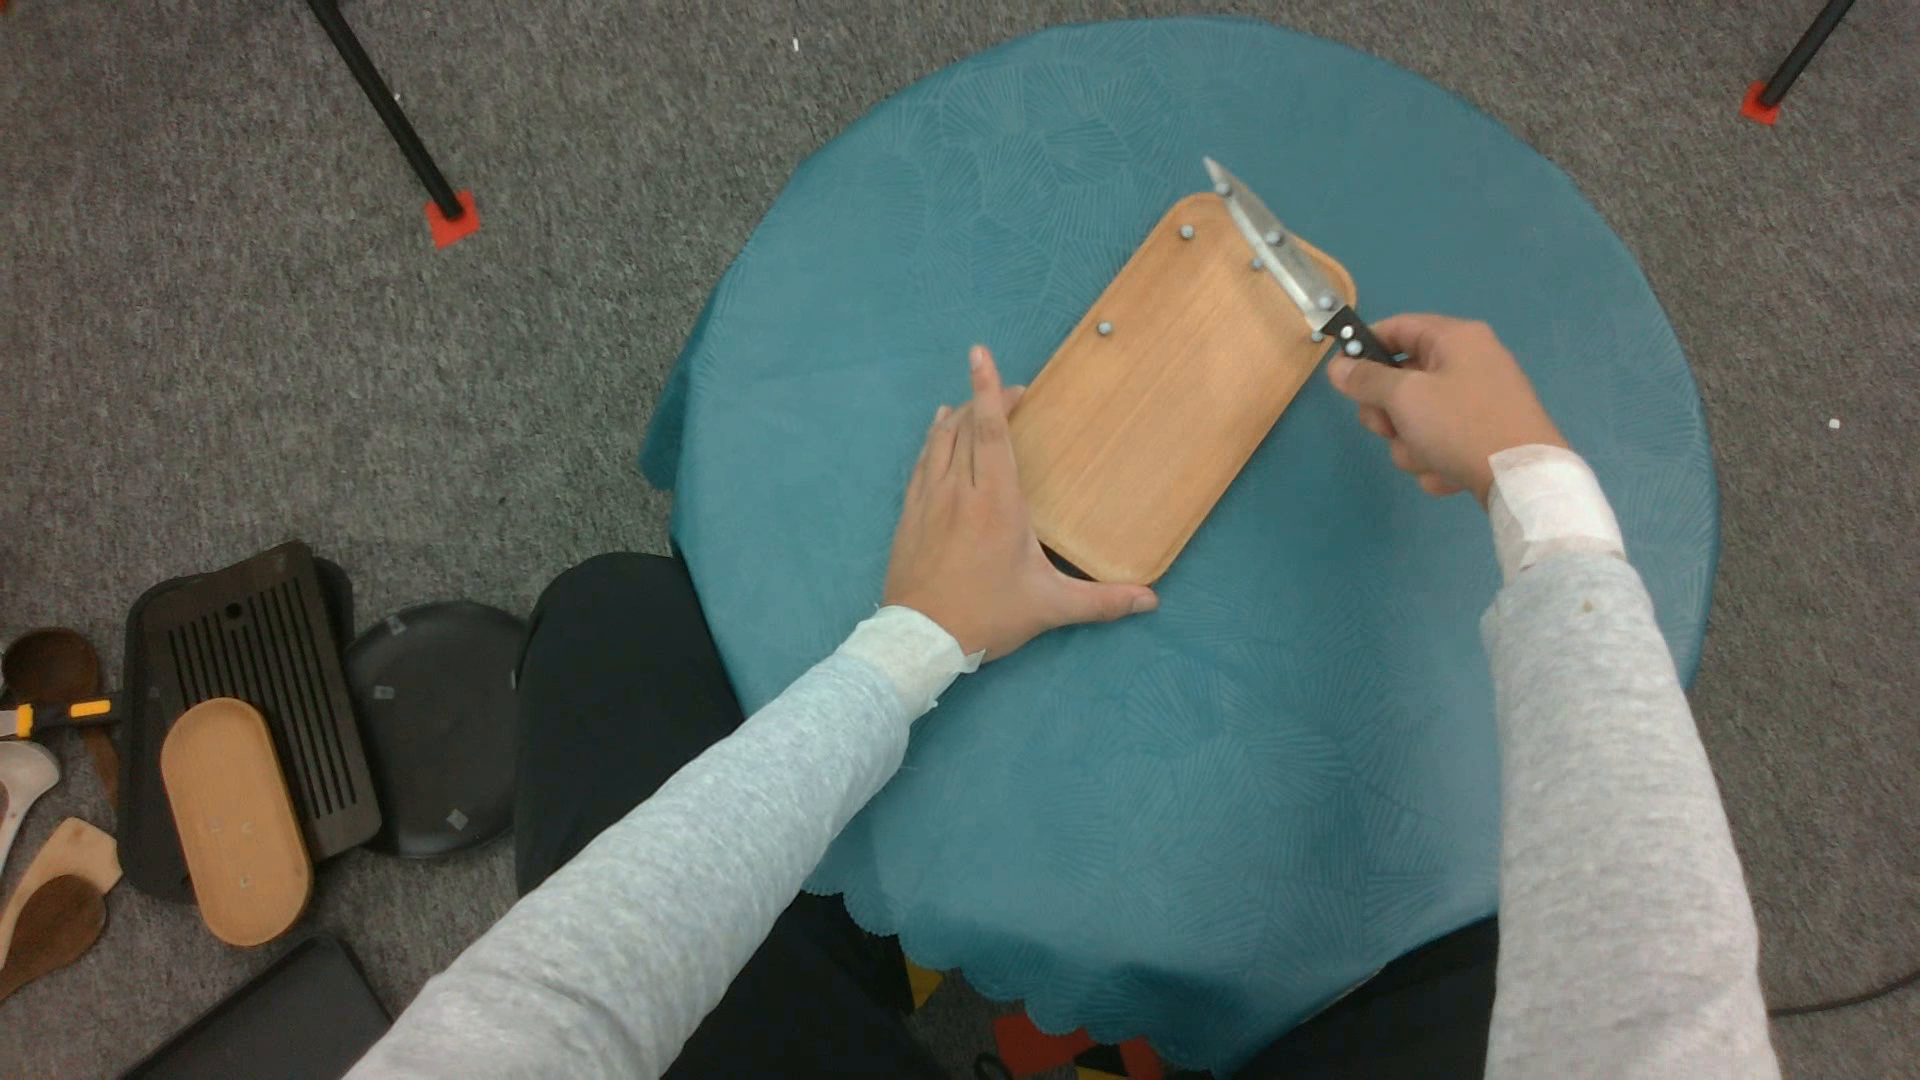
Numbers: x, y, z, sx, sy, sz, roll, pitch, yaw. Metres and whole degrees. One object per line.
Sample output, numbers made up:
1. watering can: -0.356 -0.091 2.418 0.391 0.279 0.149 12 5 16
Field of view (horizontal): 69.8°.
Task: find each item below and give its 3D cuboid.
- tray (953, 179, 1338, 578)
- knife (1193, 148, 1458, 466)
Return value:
1. tray: 0.111 -0.098 0.804 0.130 0.023 0.251 35 75 13
2. knife: 0.194 -0.136 0.749 0.024 0.016 0.238 -45 63 28
